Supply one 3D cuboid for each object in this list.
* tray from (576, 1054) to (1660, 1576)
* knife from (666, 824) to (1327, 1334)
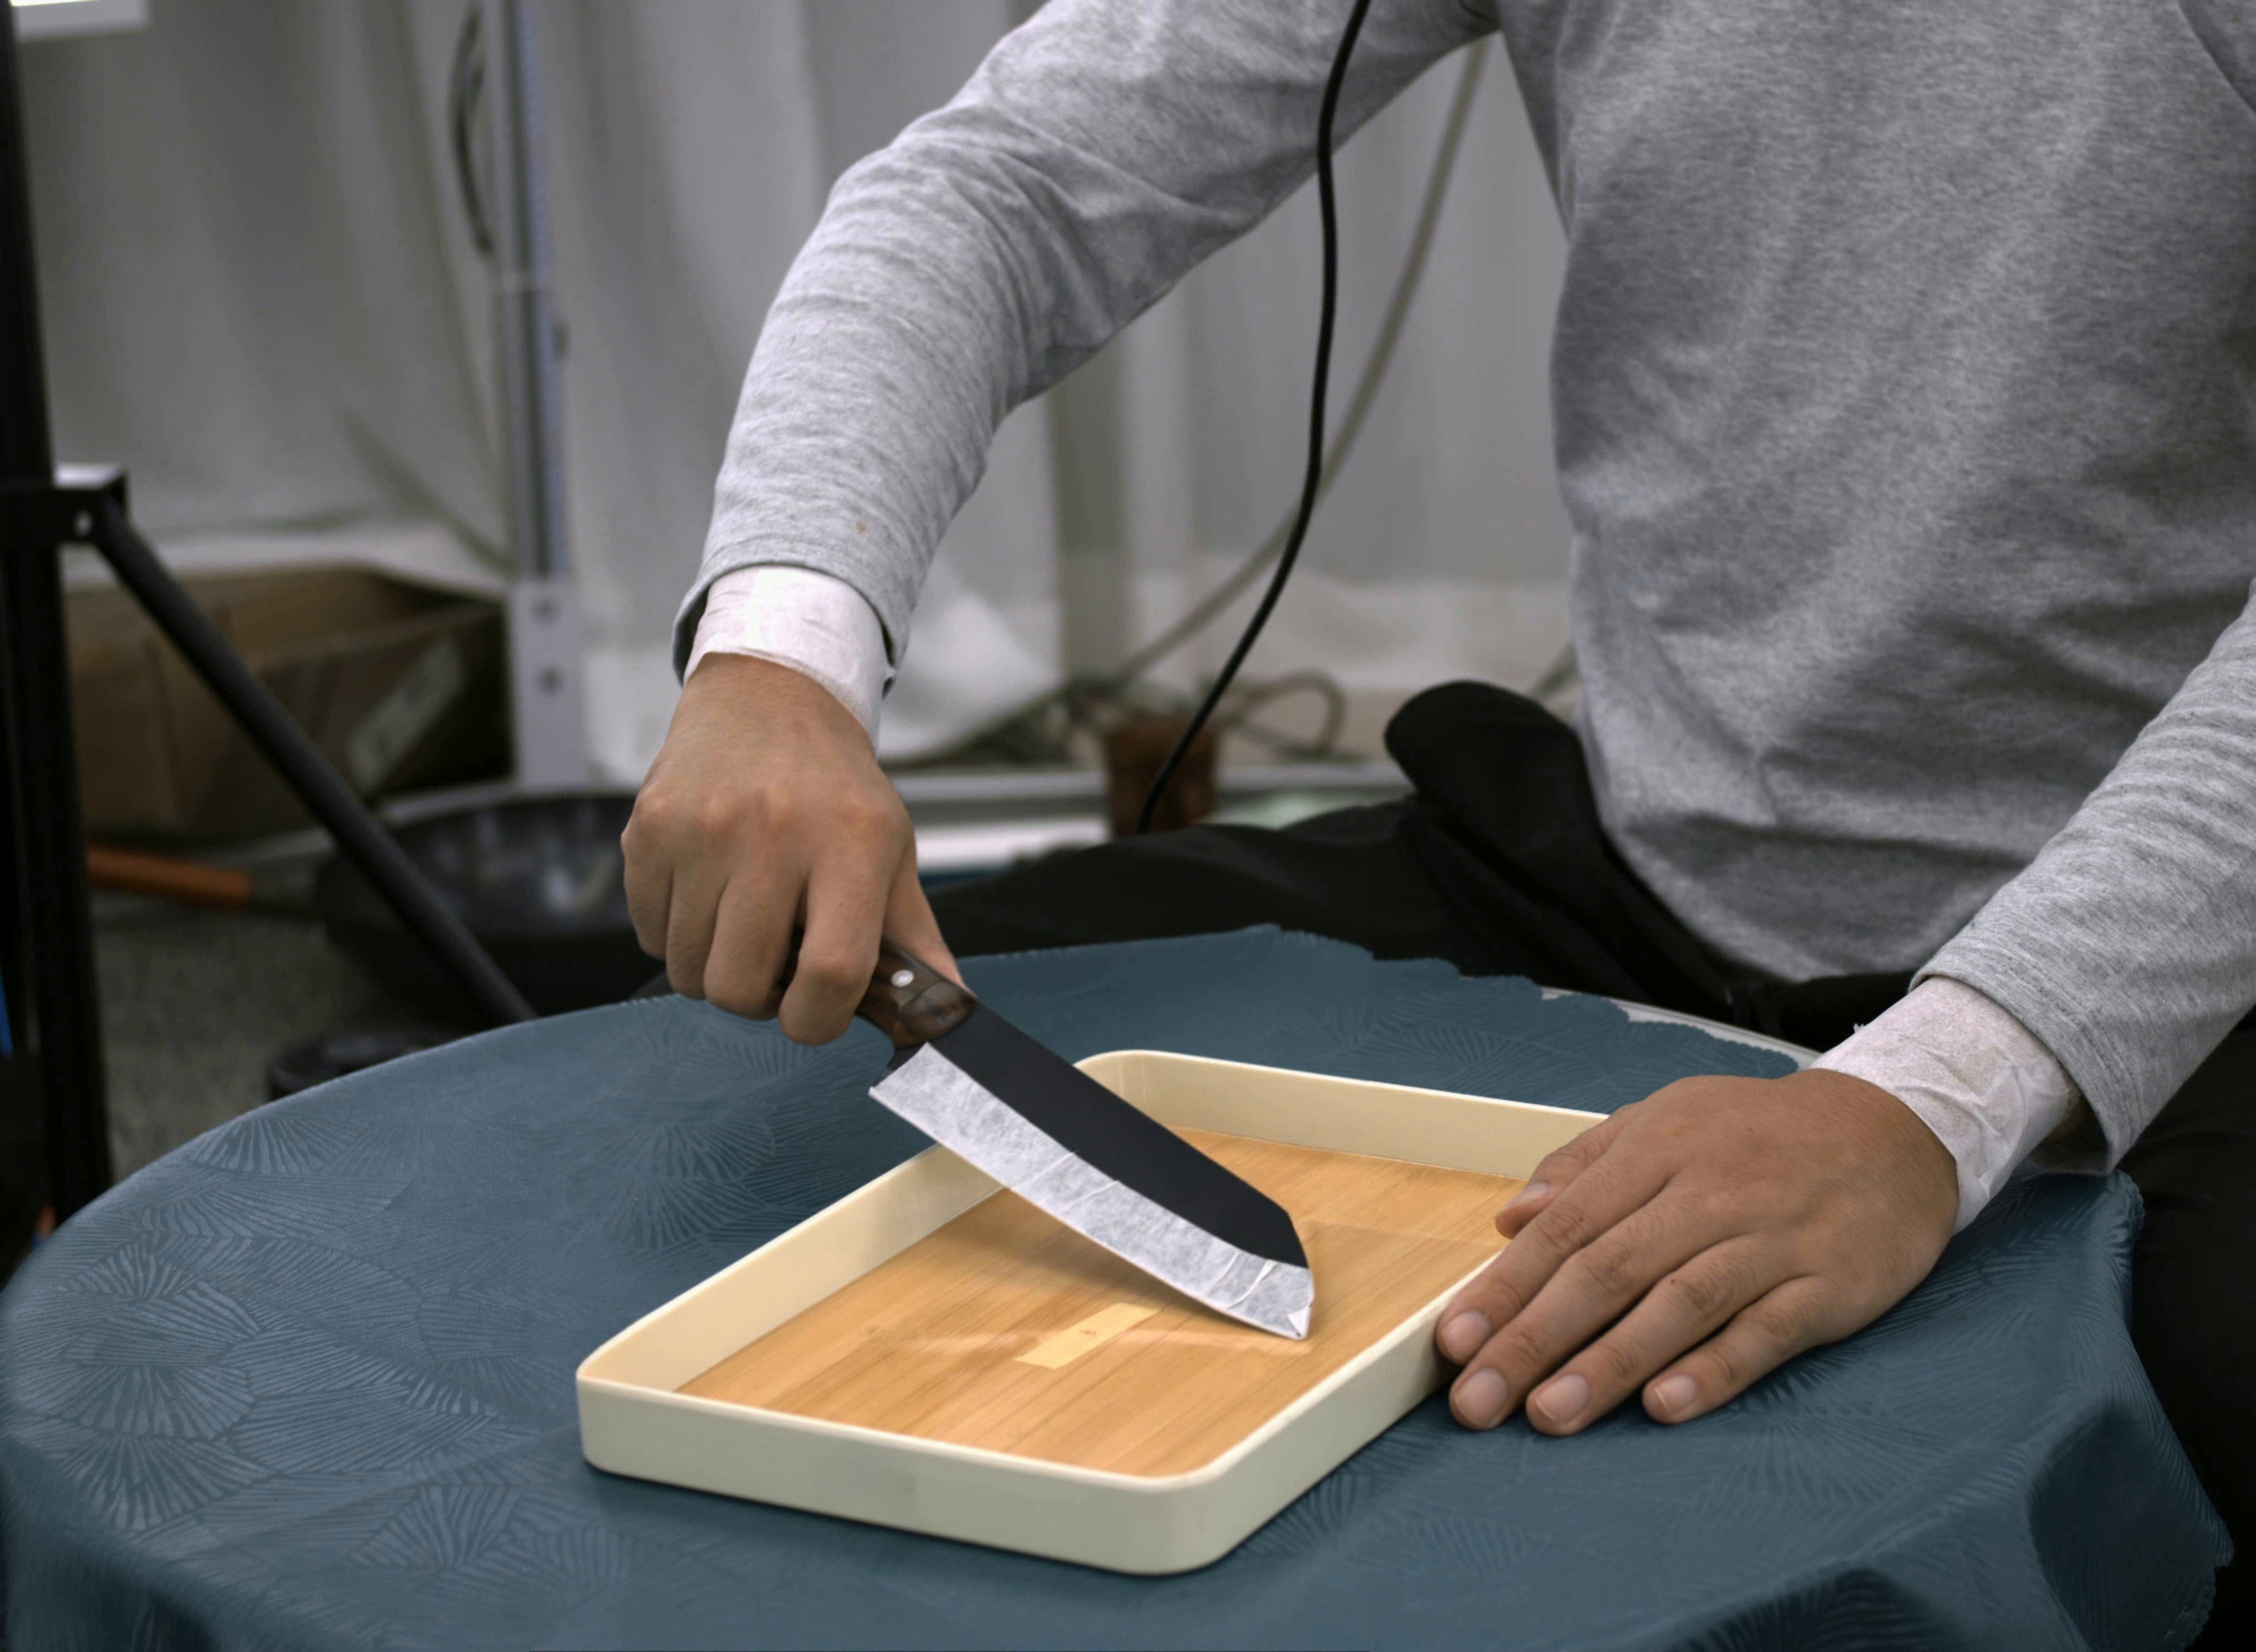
[{"bbox_3d":[0.005,0.127,1.448,0.195,0.027,0.295,7,18,29],"label":"tray"},{"bbox_3d":[-0.041,0.071,1.522,0.050,0.020,0.296,-39,47,-19],"label":"knife"}]
